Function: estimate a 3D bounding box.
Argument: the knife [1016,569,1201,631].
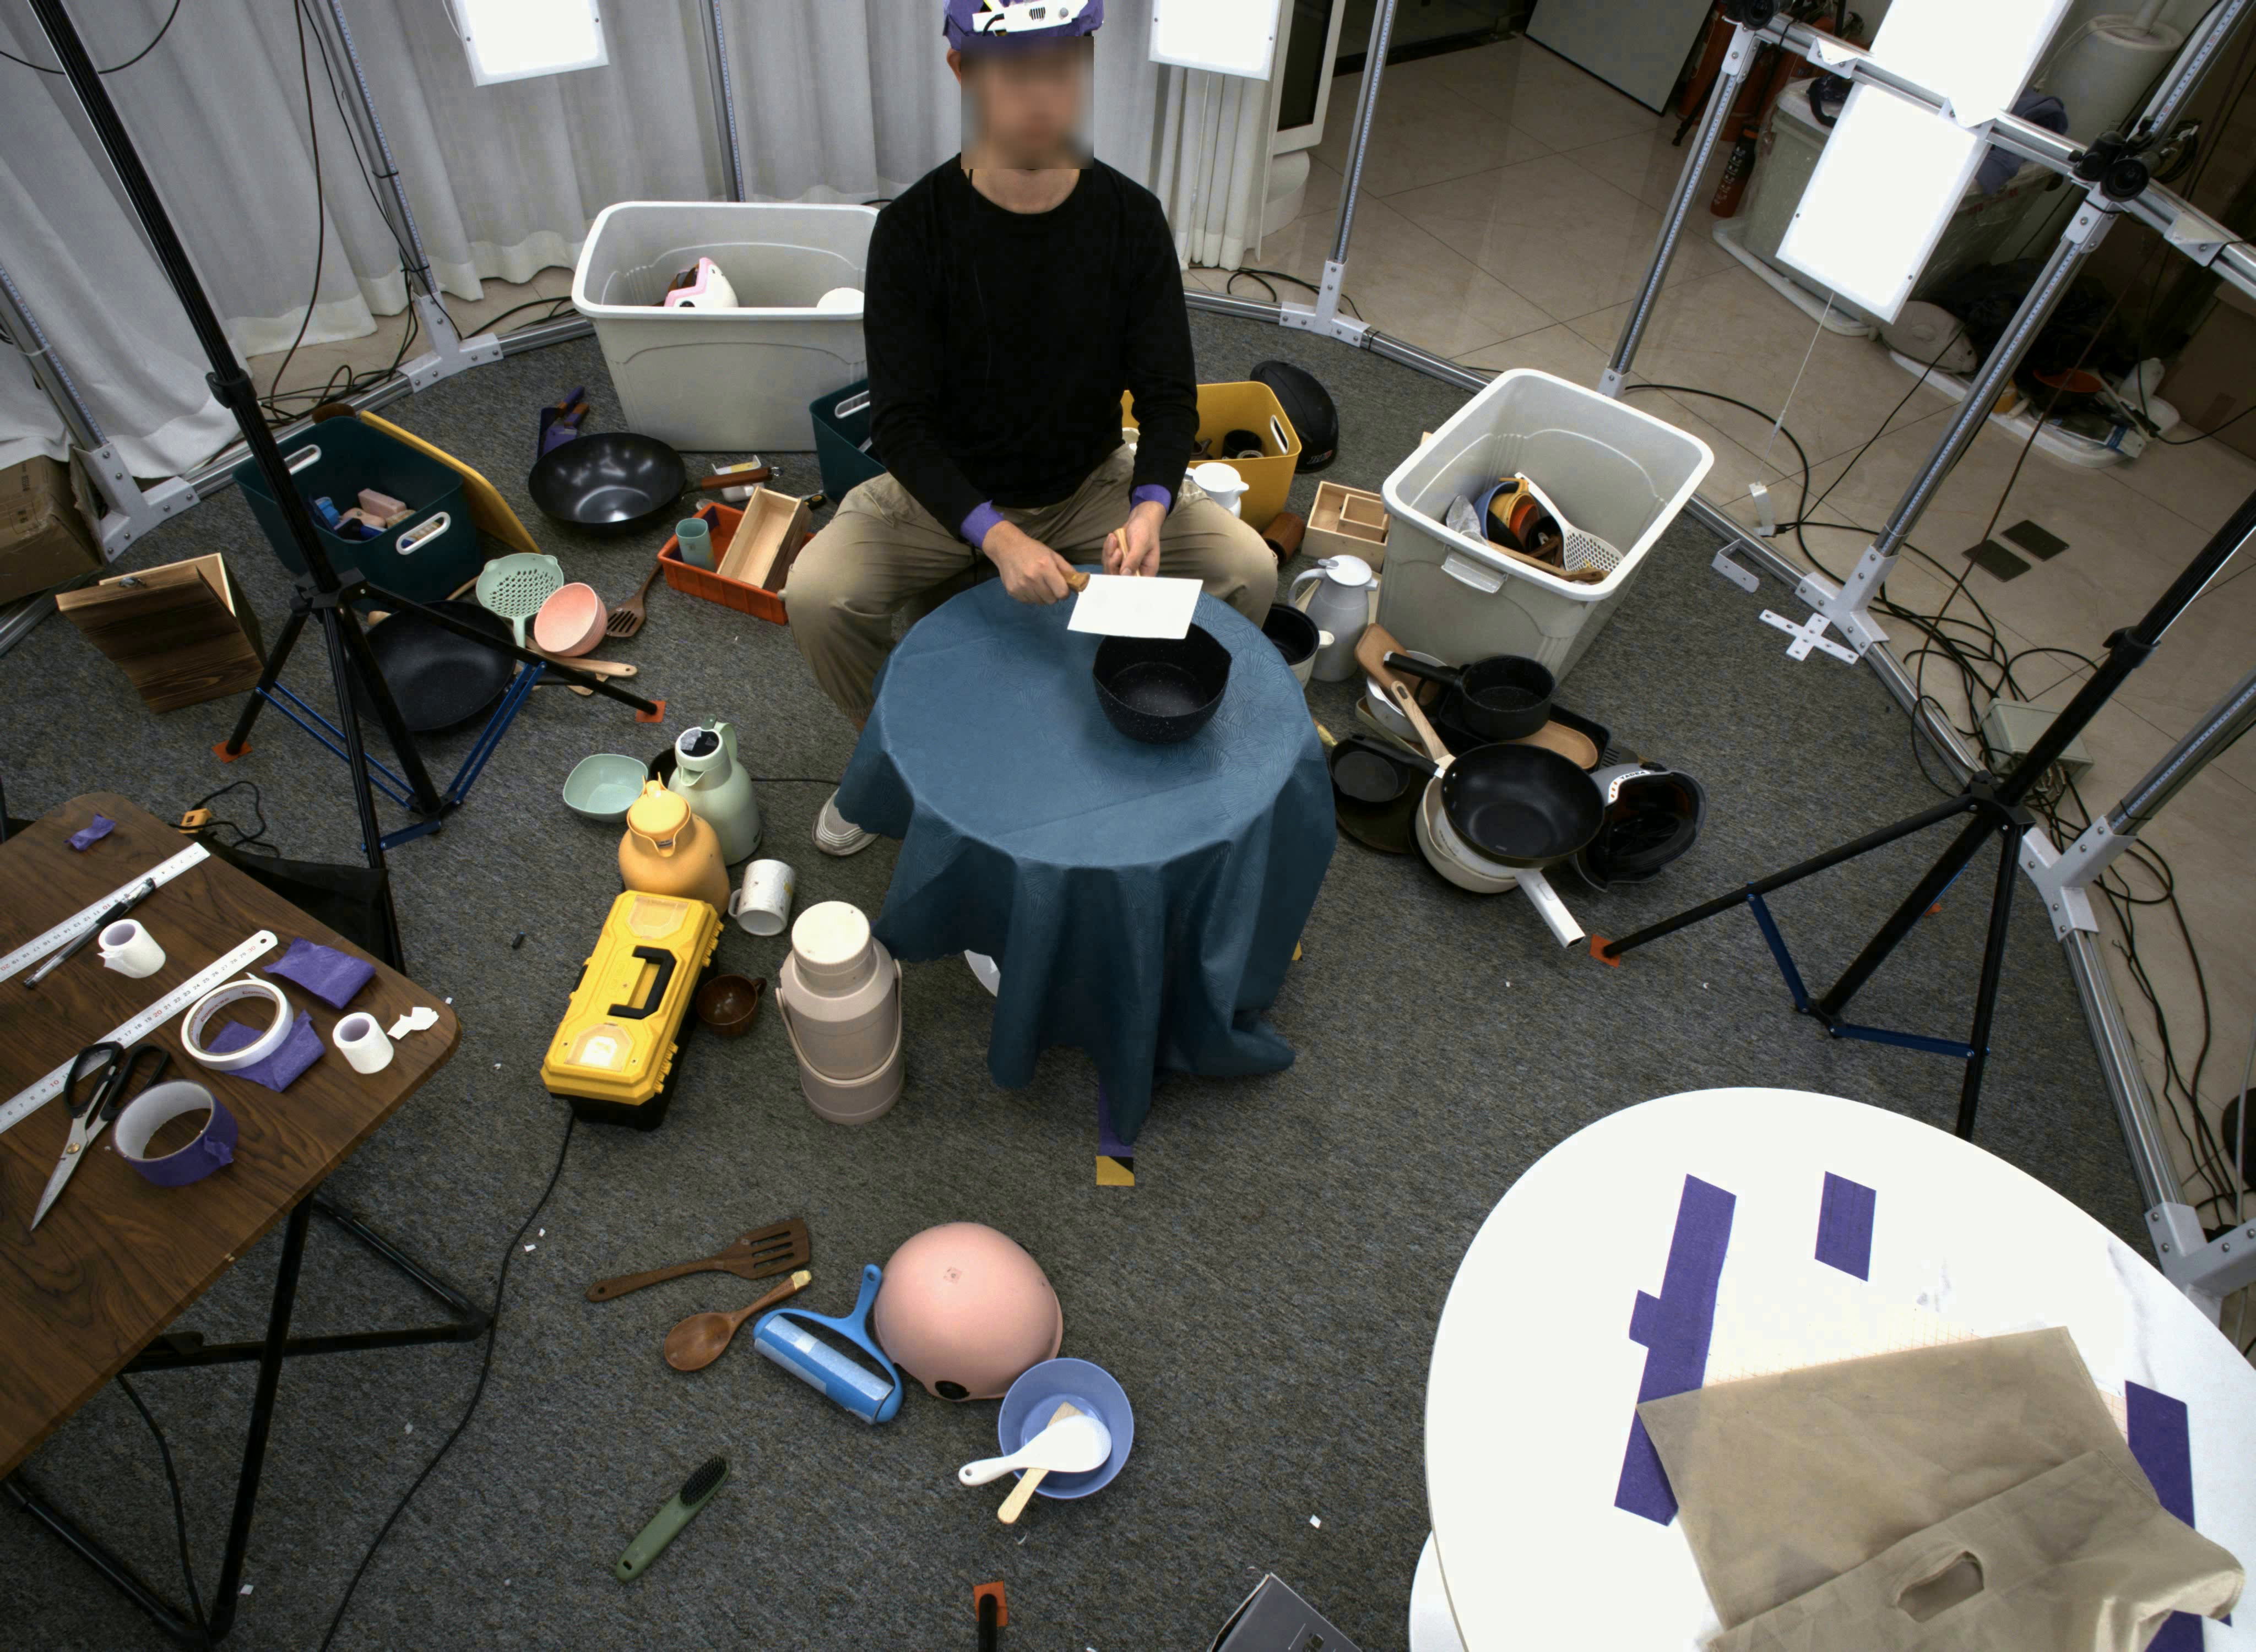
[{"bbox_3d":[-0.039,-0.316,1.803,0.308,0.020,0.094,9,73,32],"label":"knife"}]

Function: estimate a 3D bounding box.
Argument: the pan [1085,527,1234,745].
[{"bbox_3d":[0.023,-0.268,1.818,0.207,0.106,0.351,-10,56,-11],"label":"pan"}]
